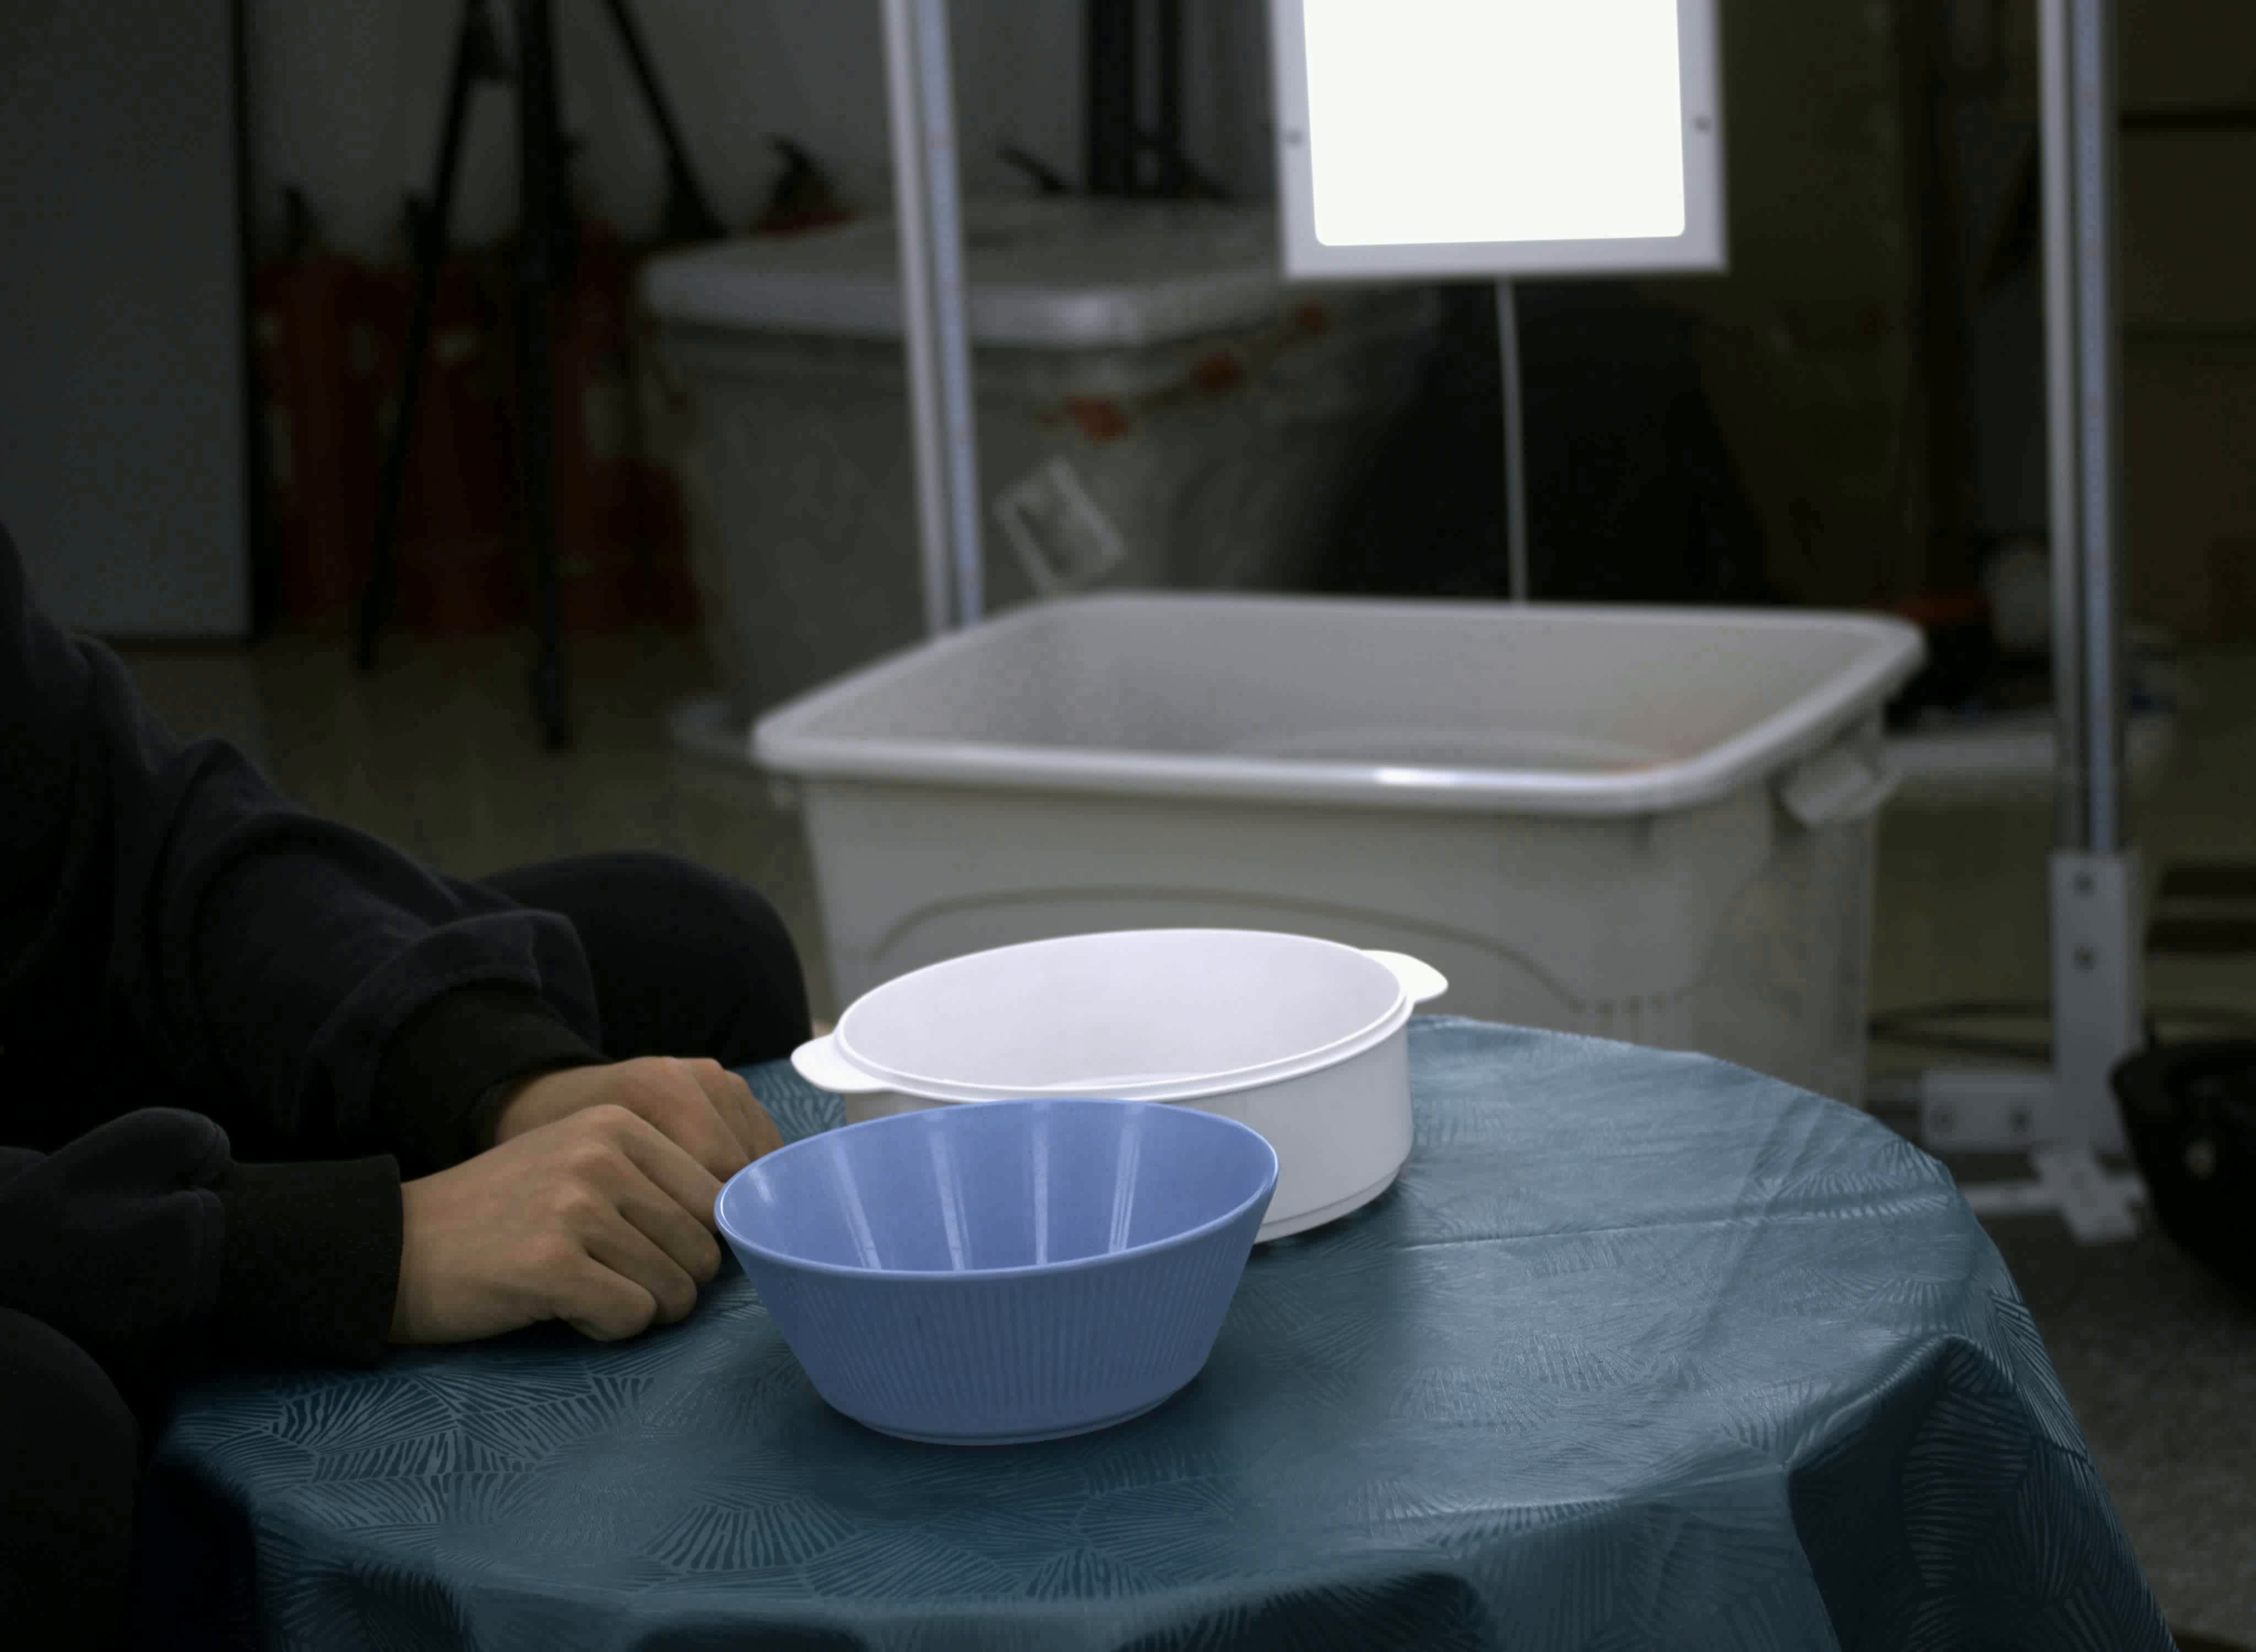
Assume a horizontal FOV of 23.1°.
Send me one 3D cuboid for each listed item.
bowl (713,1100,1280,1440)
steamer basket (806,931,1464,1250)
[{"bbox_3d":[-0.039,0.140,1.706,0.175,0.070,0.176,-4,14,0],"label":"bowl"},{"bbox_3d":[0.005,0.092,1.893,0.227,0.069,0.204,-7,14,-16],"label":"steamer basket"}]
